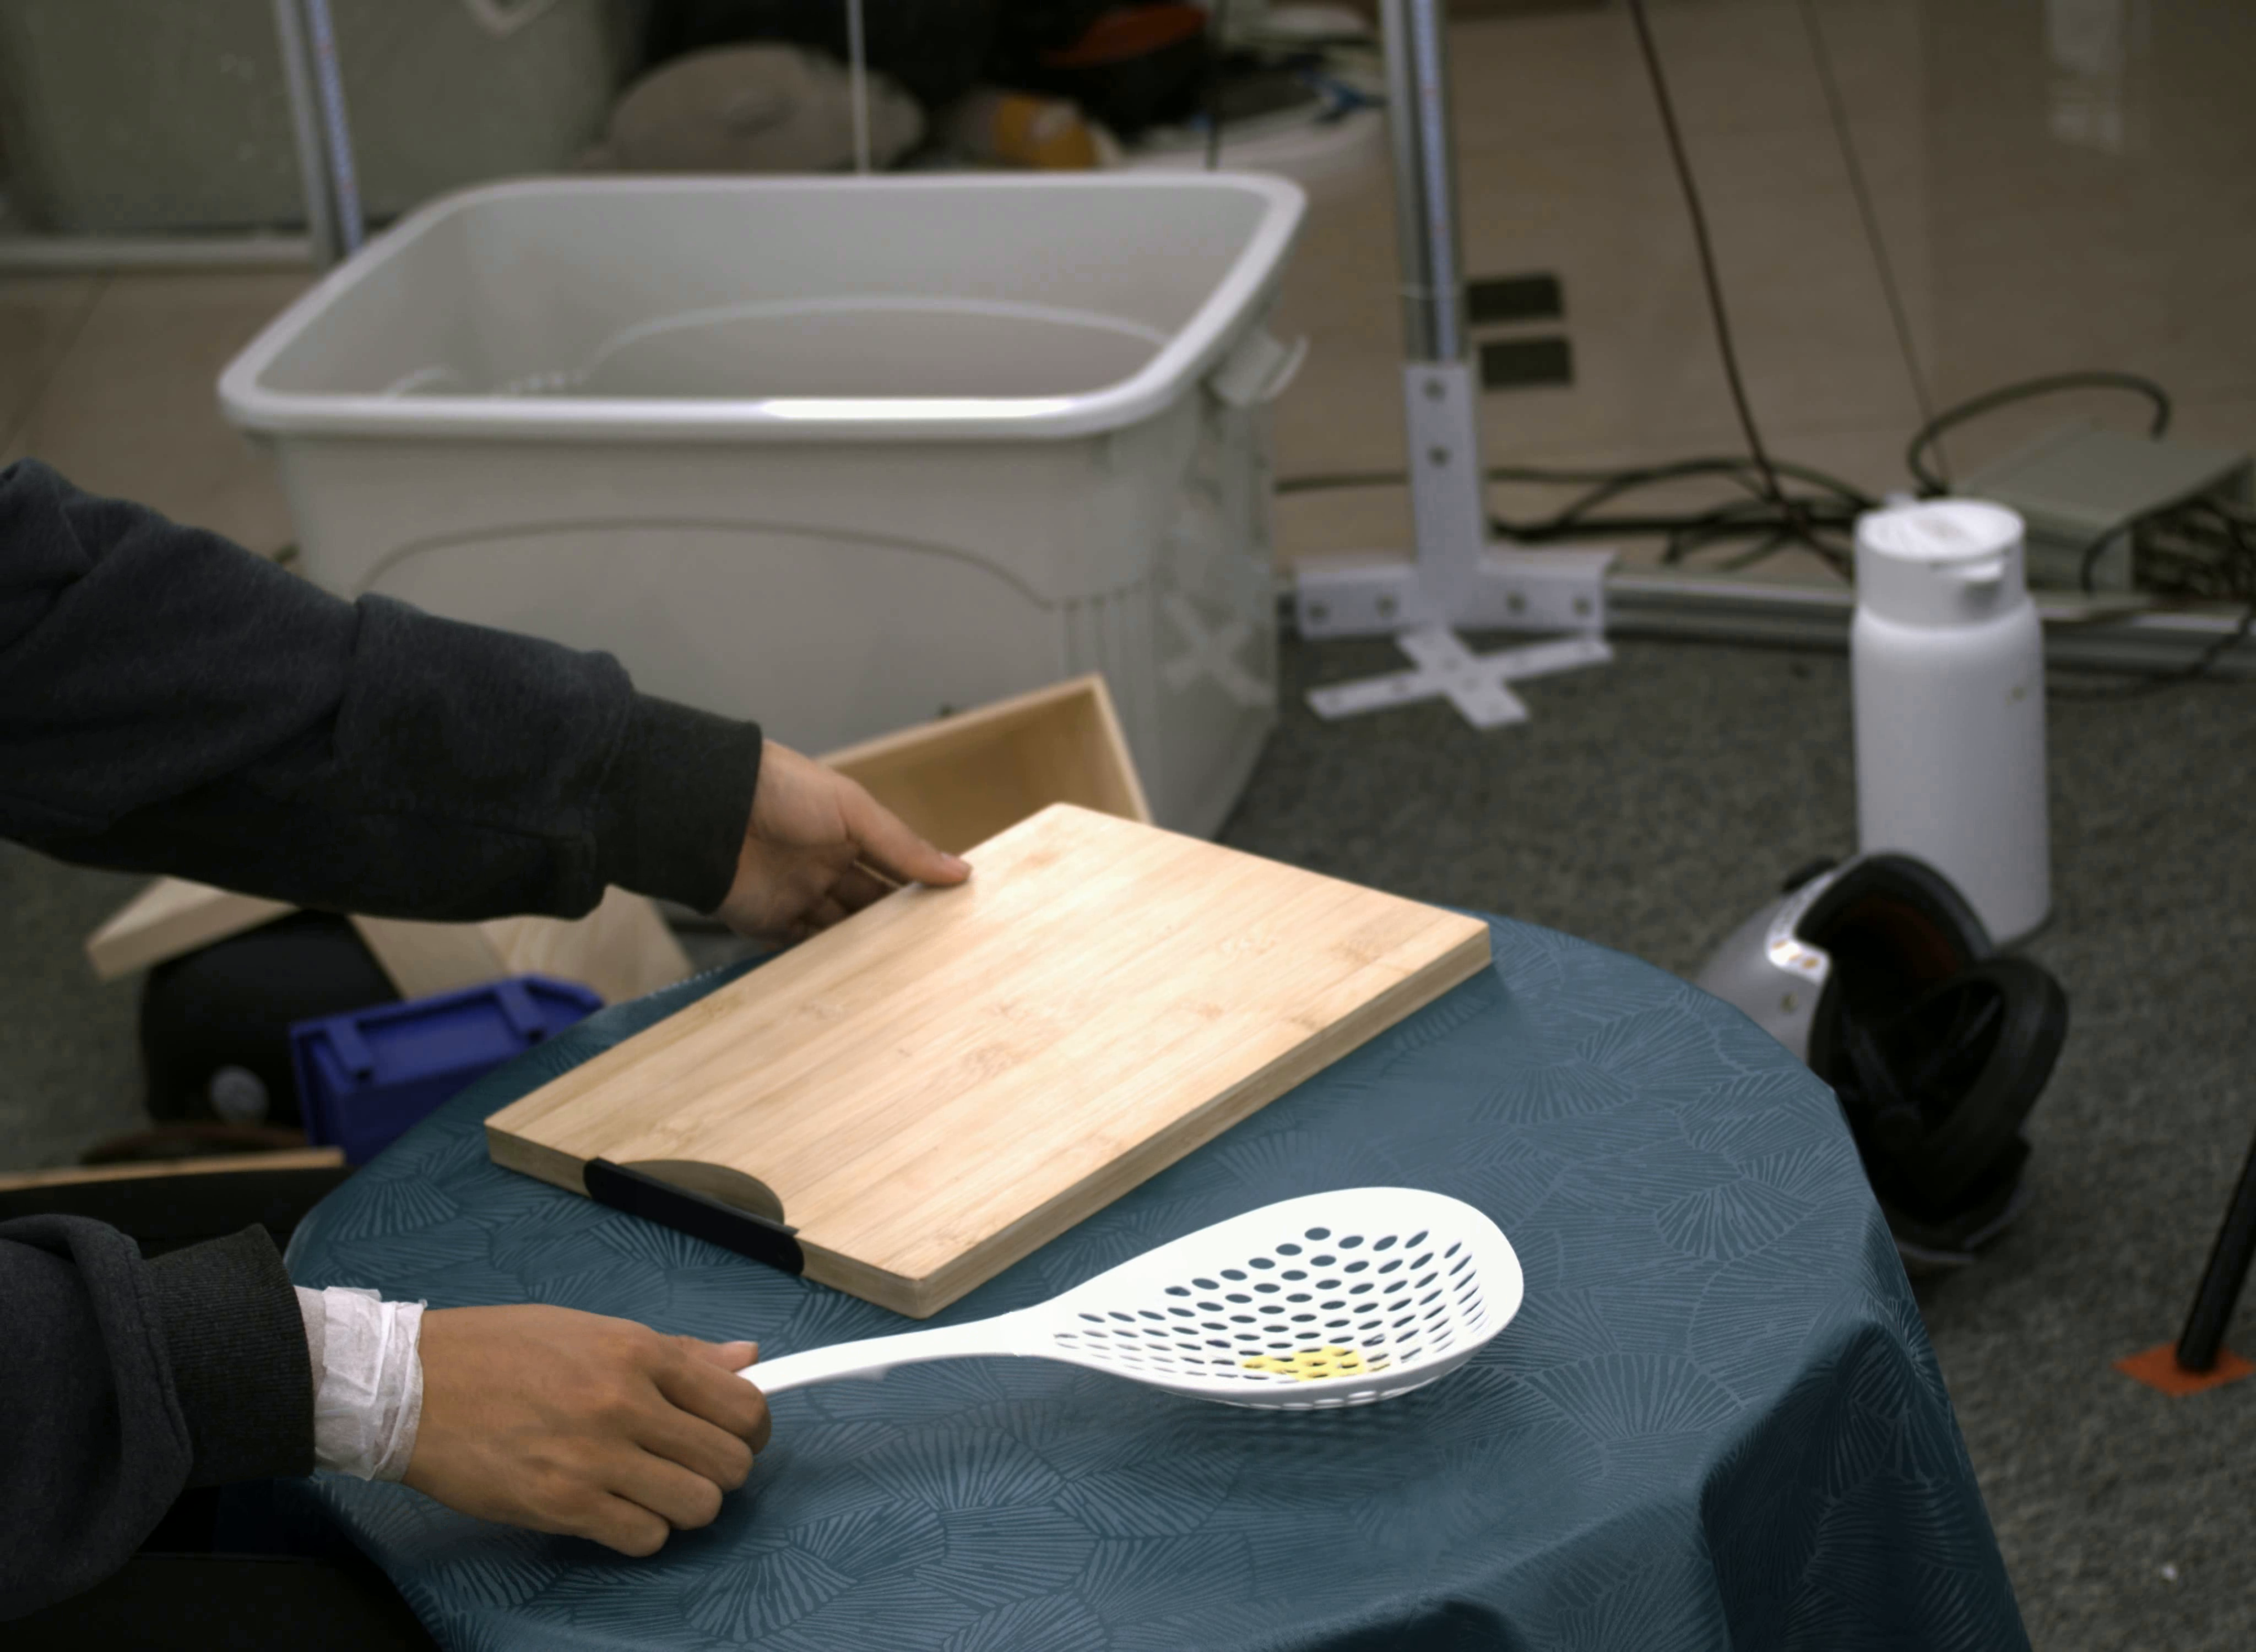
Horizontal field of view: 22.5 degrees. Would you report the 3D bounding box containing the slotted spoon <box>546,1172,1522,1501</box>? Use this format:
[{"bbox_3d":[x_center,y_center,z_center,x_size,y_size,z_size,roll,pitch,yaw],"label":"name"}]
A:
[{"bbox_3d":[-0.034,0.188,1.991,0.347,0.051,0.135,-7,26,-5],"label":"slotted spoon"}]

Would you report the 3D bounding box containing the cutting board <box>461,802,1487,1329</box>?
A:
[{"bbox_3d":[-0.056,0.088,2.251,0.249,0.024,0.345,15,33,39],"label":"cutting board"}]
